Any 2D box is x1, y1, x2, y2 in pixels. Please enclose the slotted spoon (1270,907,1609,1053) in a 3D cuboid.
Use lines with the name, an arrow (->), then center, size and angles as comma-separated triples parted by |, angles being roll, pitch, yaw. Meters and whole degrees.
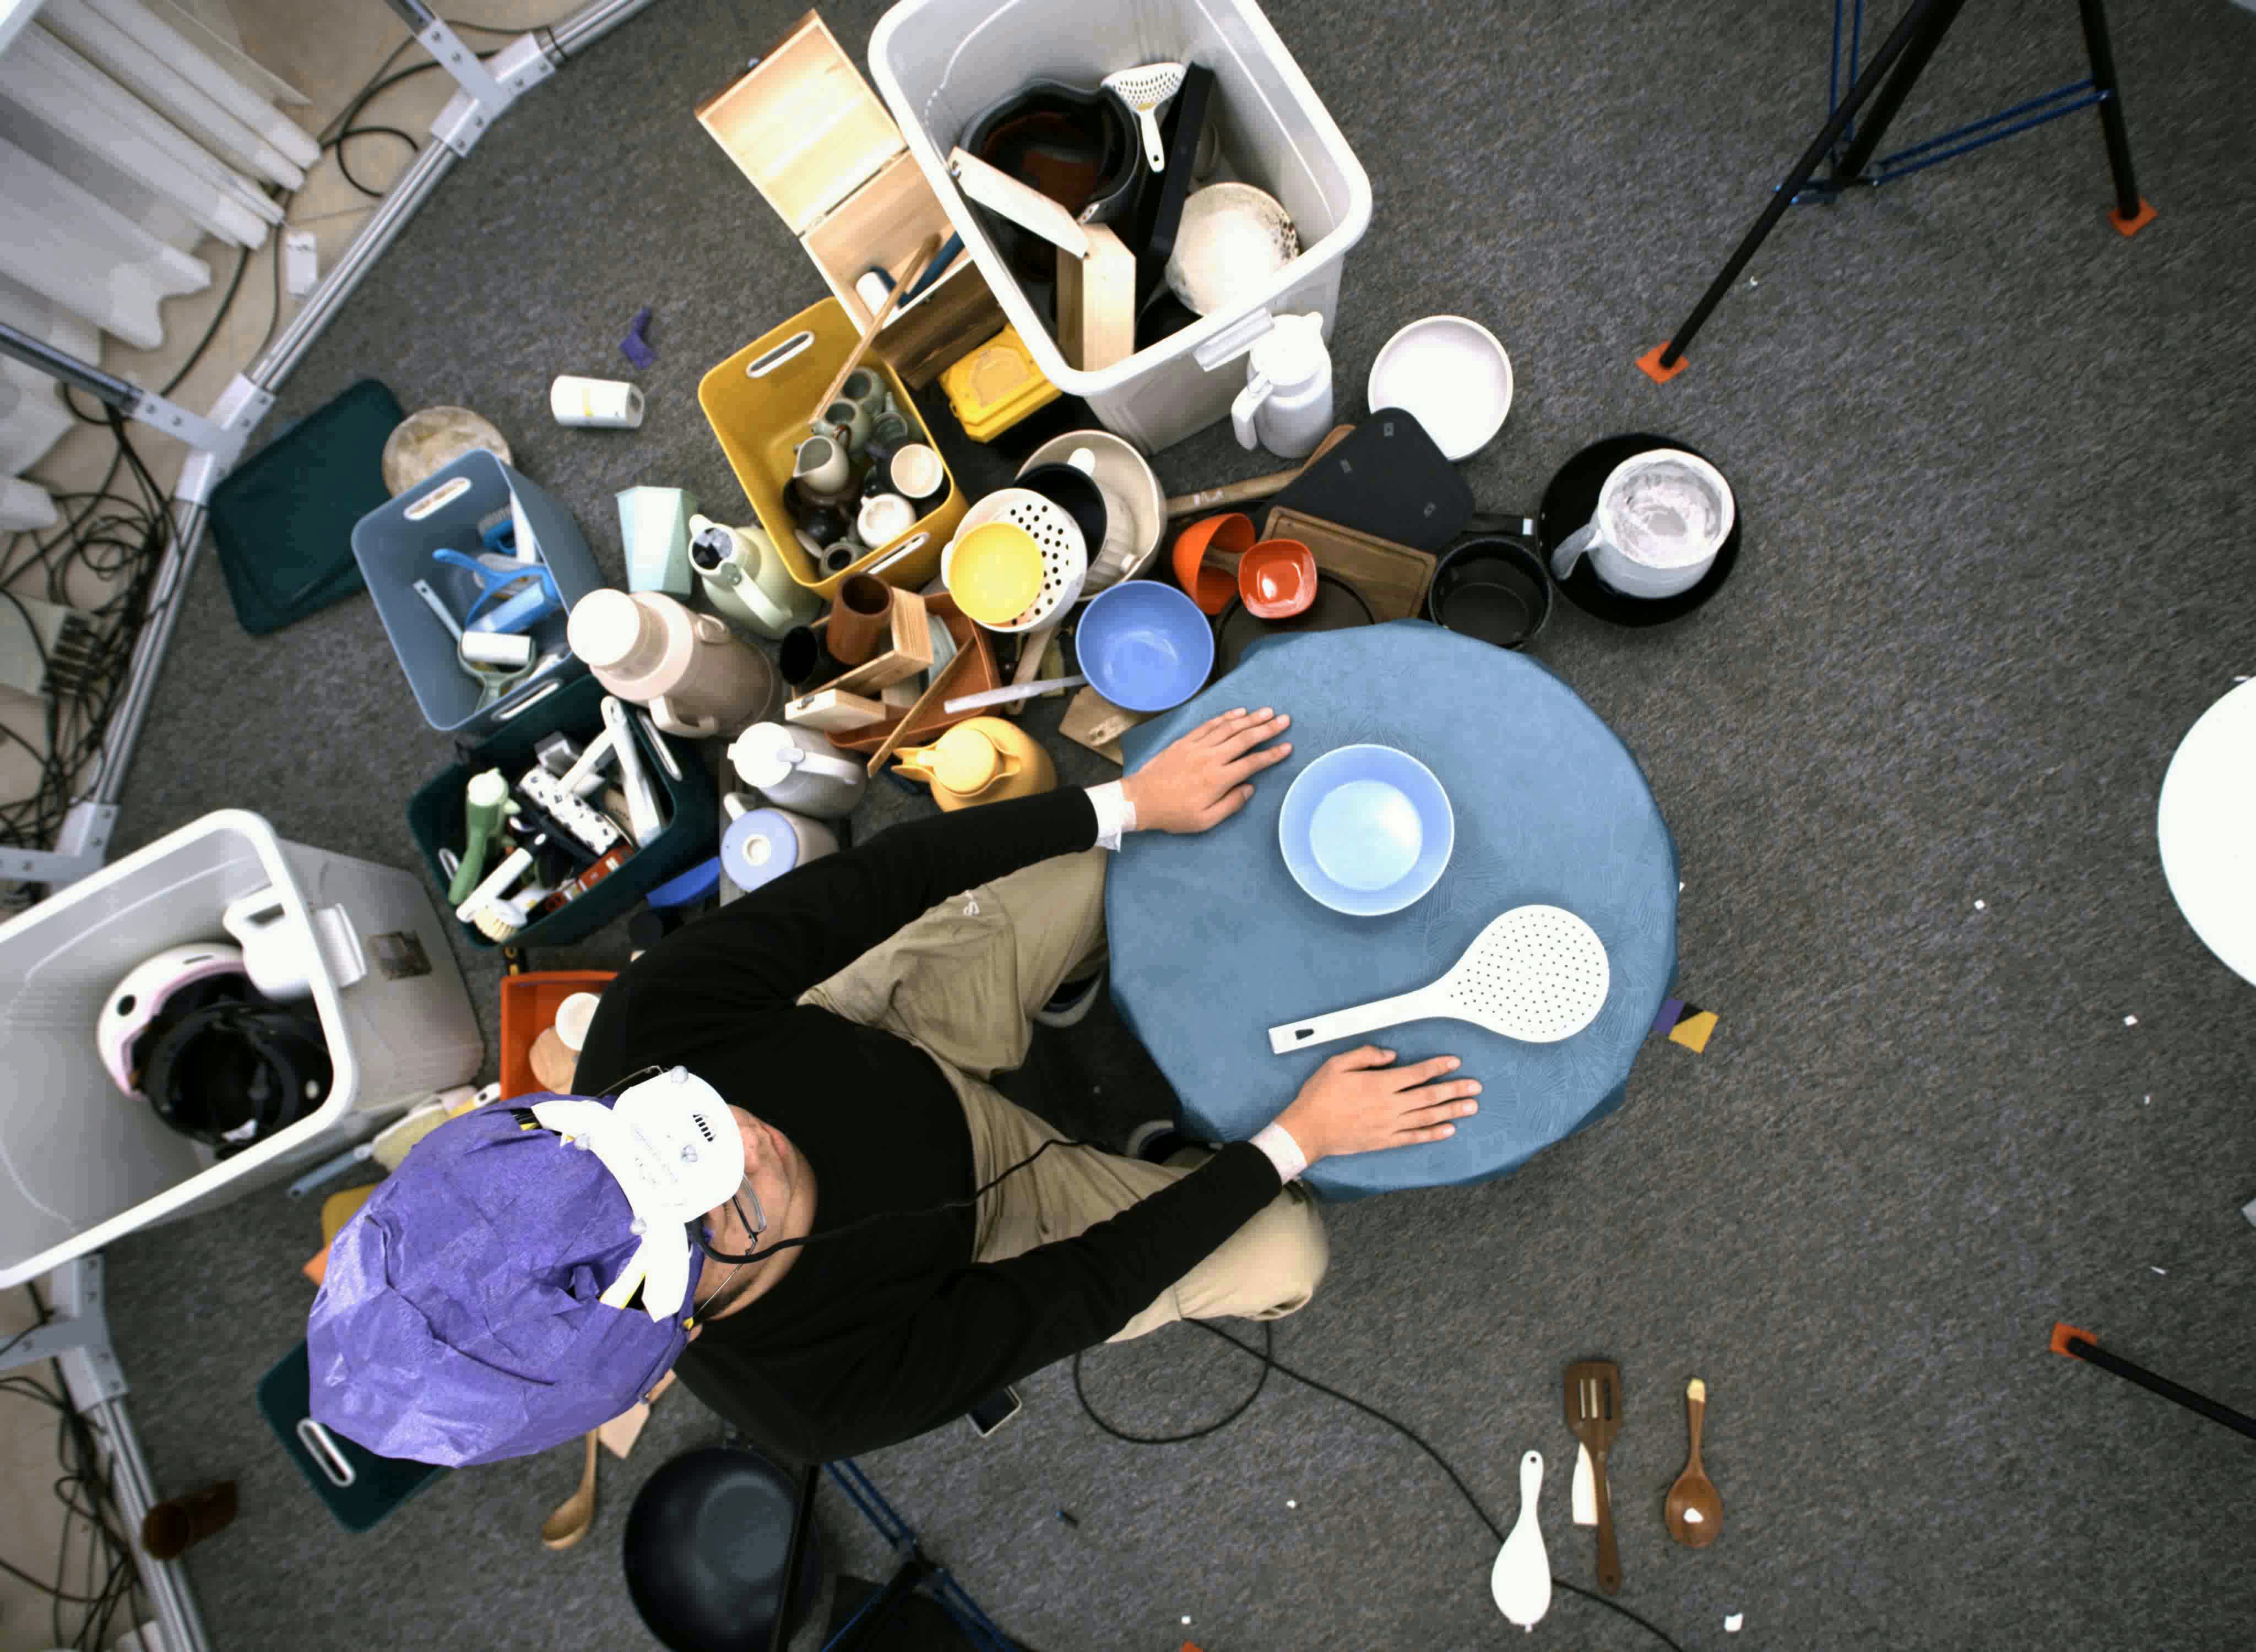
slotted spoon -> 0.316, 0.179, 1.423 | 0.352, 0.046, 0.135 | -16, 84, 10

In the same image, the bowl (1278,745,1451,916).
bowl -> 0.246, 0.006, 1.433 | 0.177, 0.070, 0.175 | -1, 87, 11
